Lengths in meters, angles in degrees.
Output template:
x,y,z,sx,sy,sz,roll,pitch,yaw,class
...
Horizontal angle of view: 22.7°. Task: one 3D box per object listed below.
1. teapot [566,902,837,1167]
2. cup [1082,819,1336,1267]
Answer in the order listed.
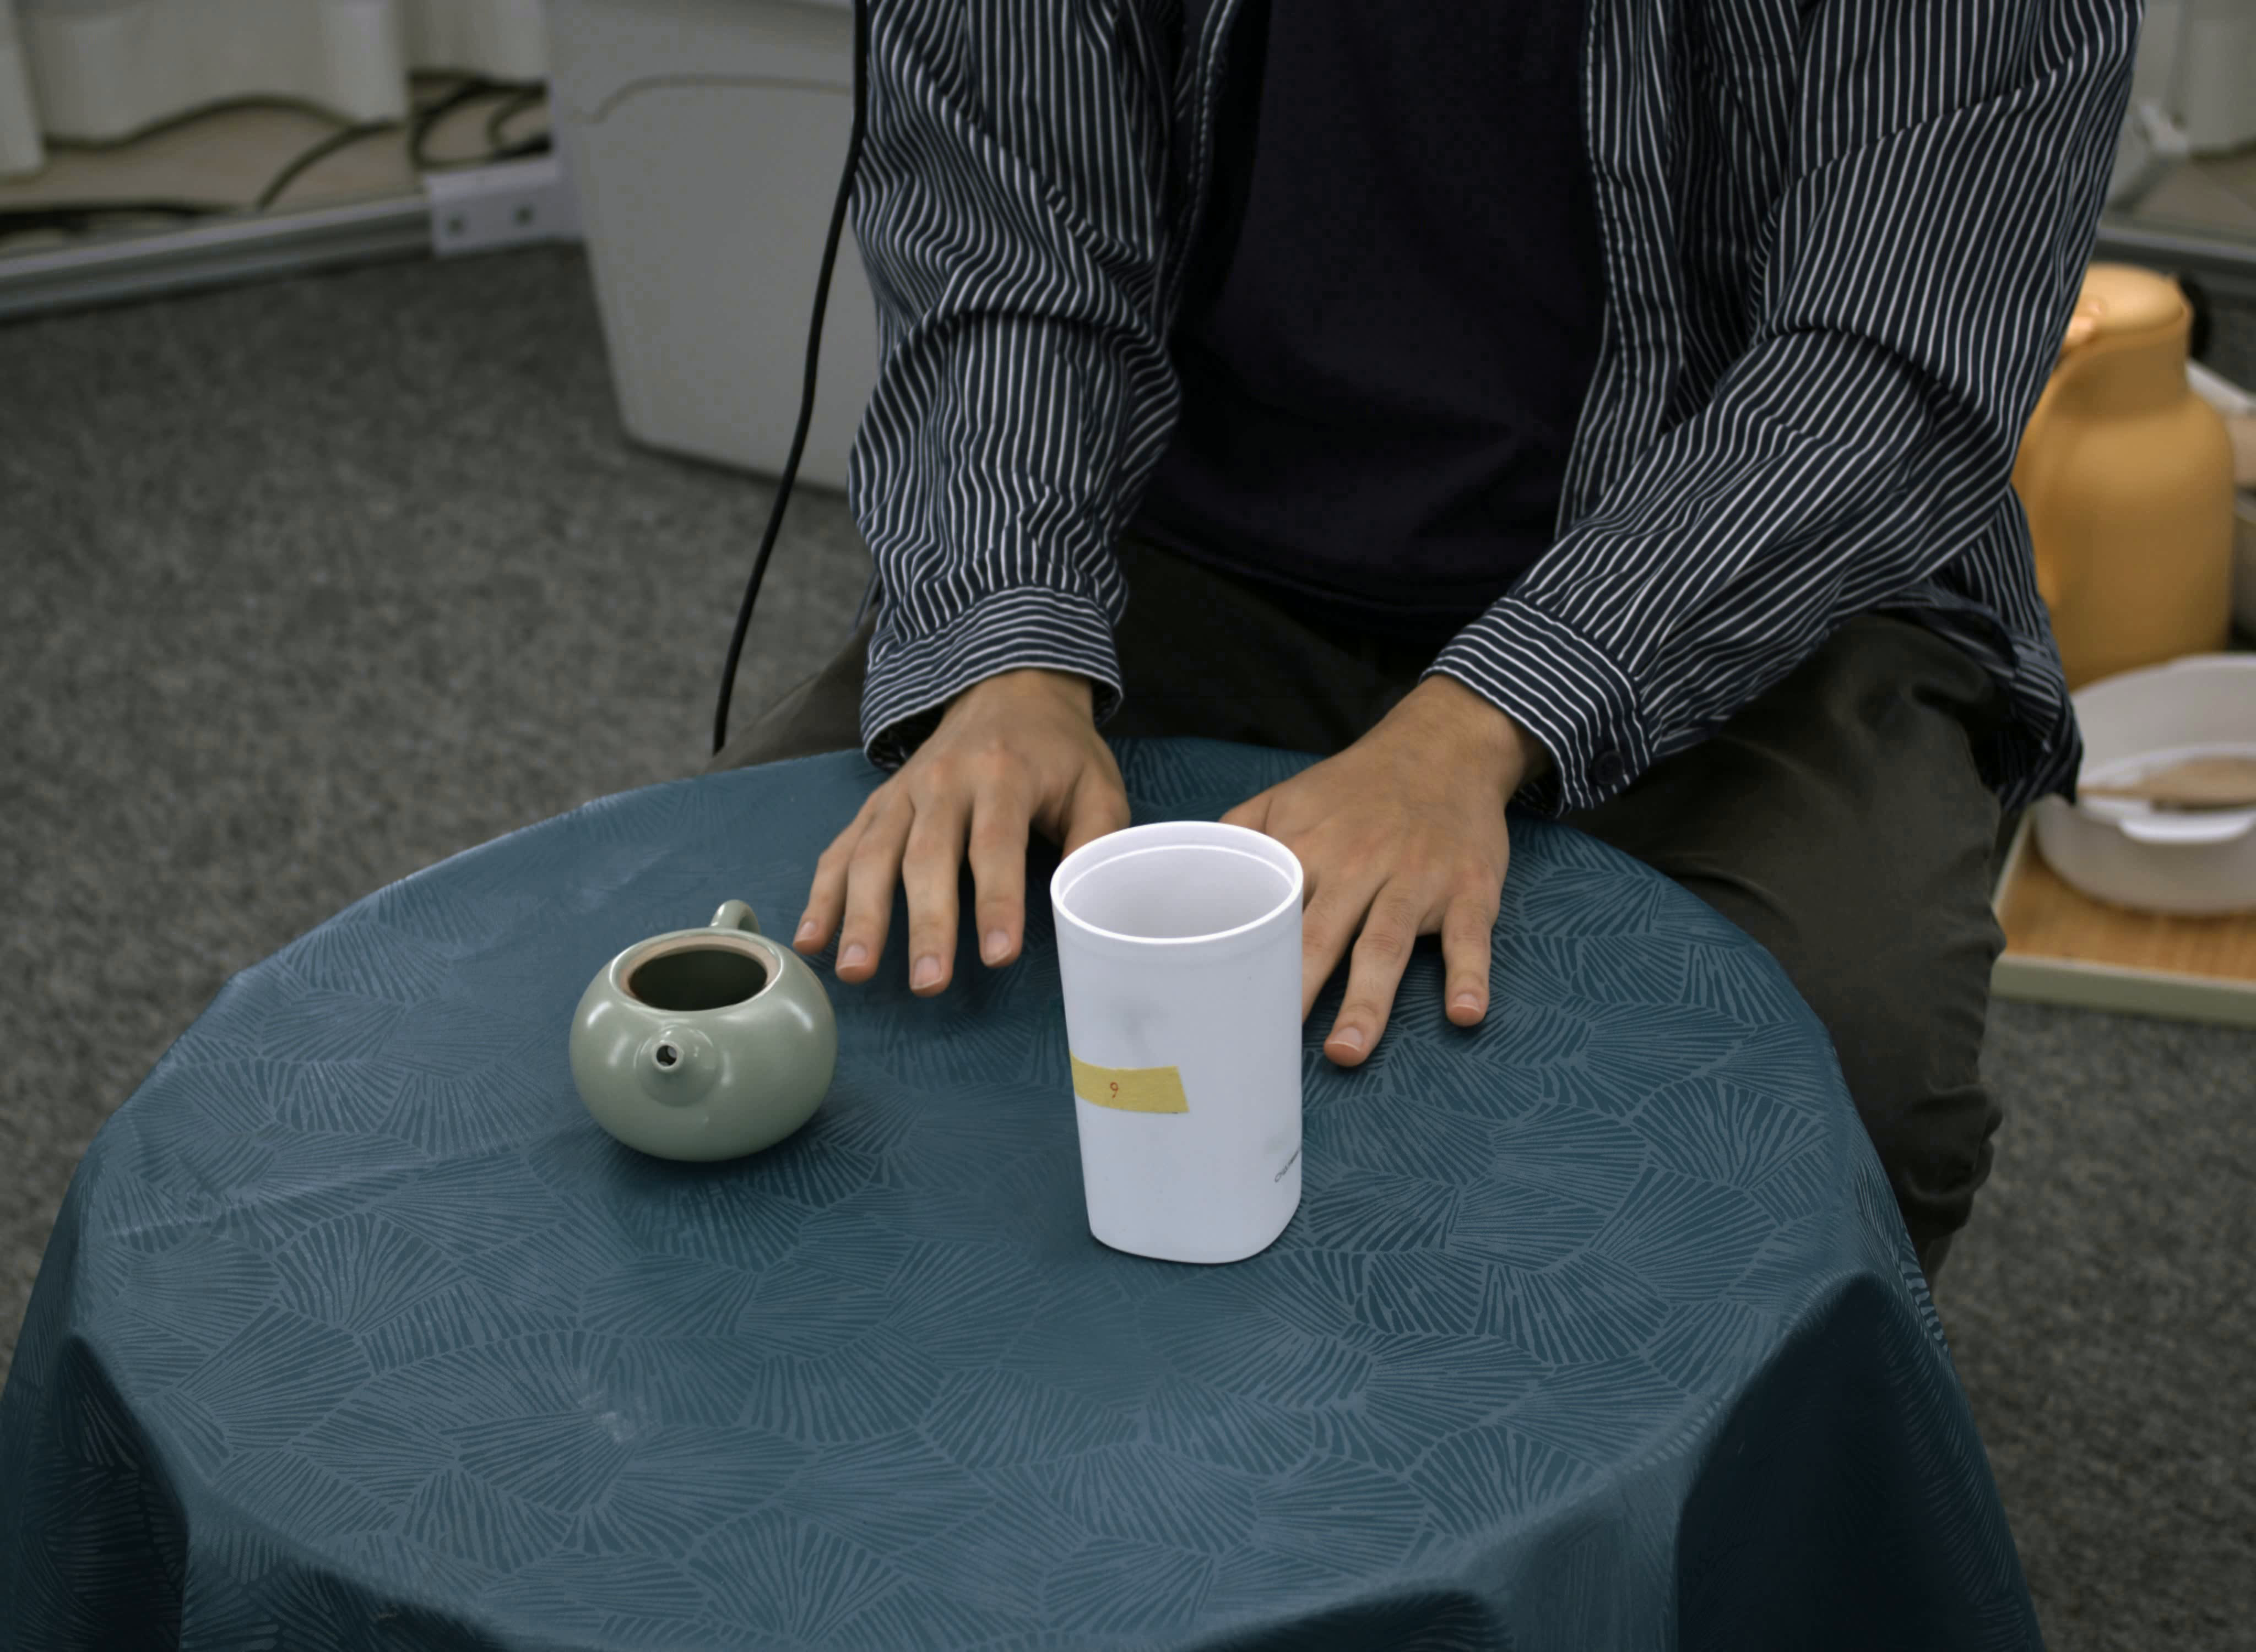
x,y,z,sx,sy,sz,roll,pitch,yaw,class
-0.142,0.072,1.905,0.091,0.060,0.130,2,27,14,teapot
0.029,0.072,1.809,0.081,0.124,0.083,-3,27,2,cup
